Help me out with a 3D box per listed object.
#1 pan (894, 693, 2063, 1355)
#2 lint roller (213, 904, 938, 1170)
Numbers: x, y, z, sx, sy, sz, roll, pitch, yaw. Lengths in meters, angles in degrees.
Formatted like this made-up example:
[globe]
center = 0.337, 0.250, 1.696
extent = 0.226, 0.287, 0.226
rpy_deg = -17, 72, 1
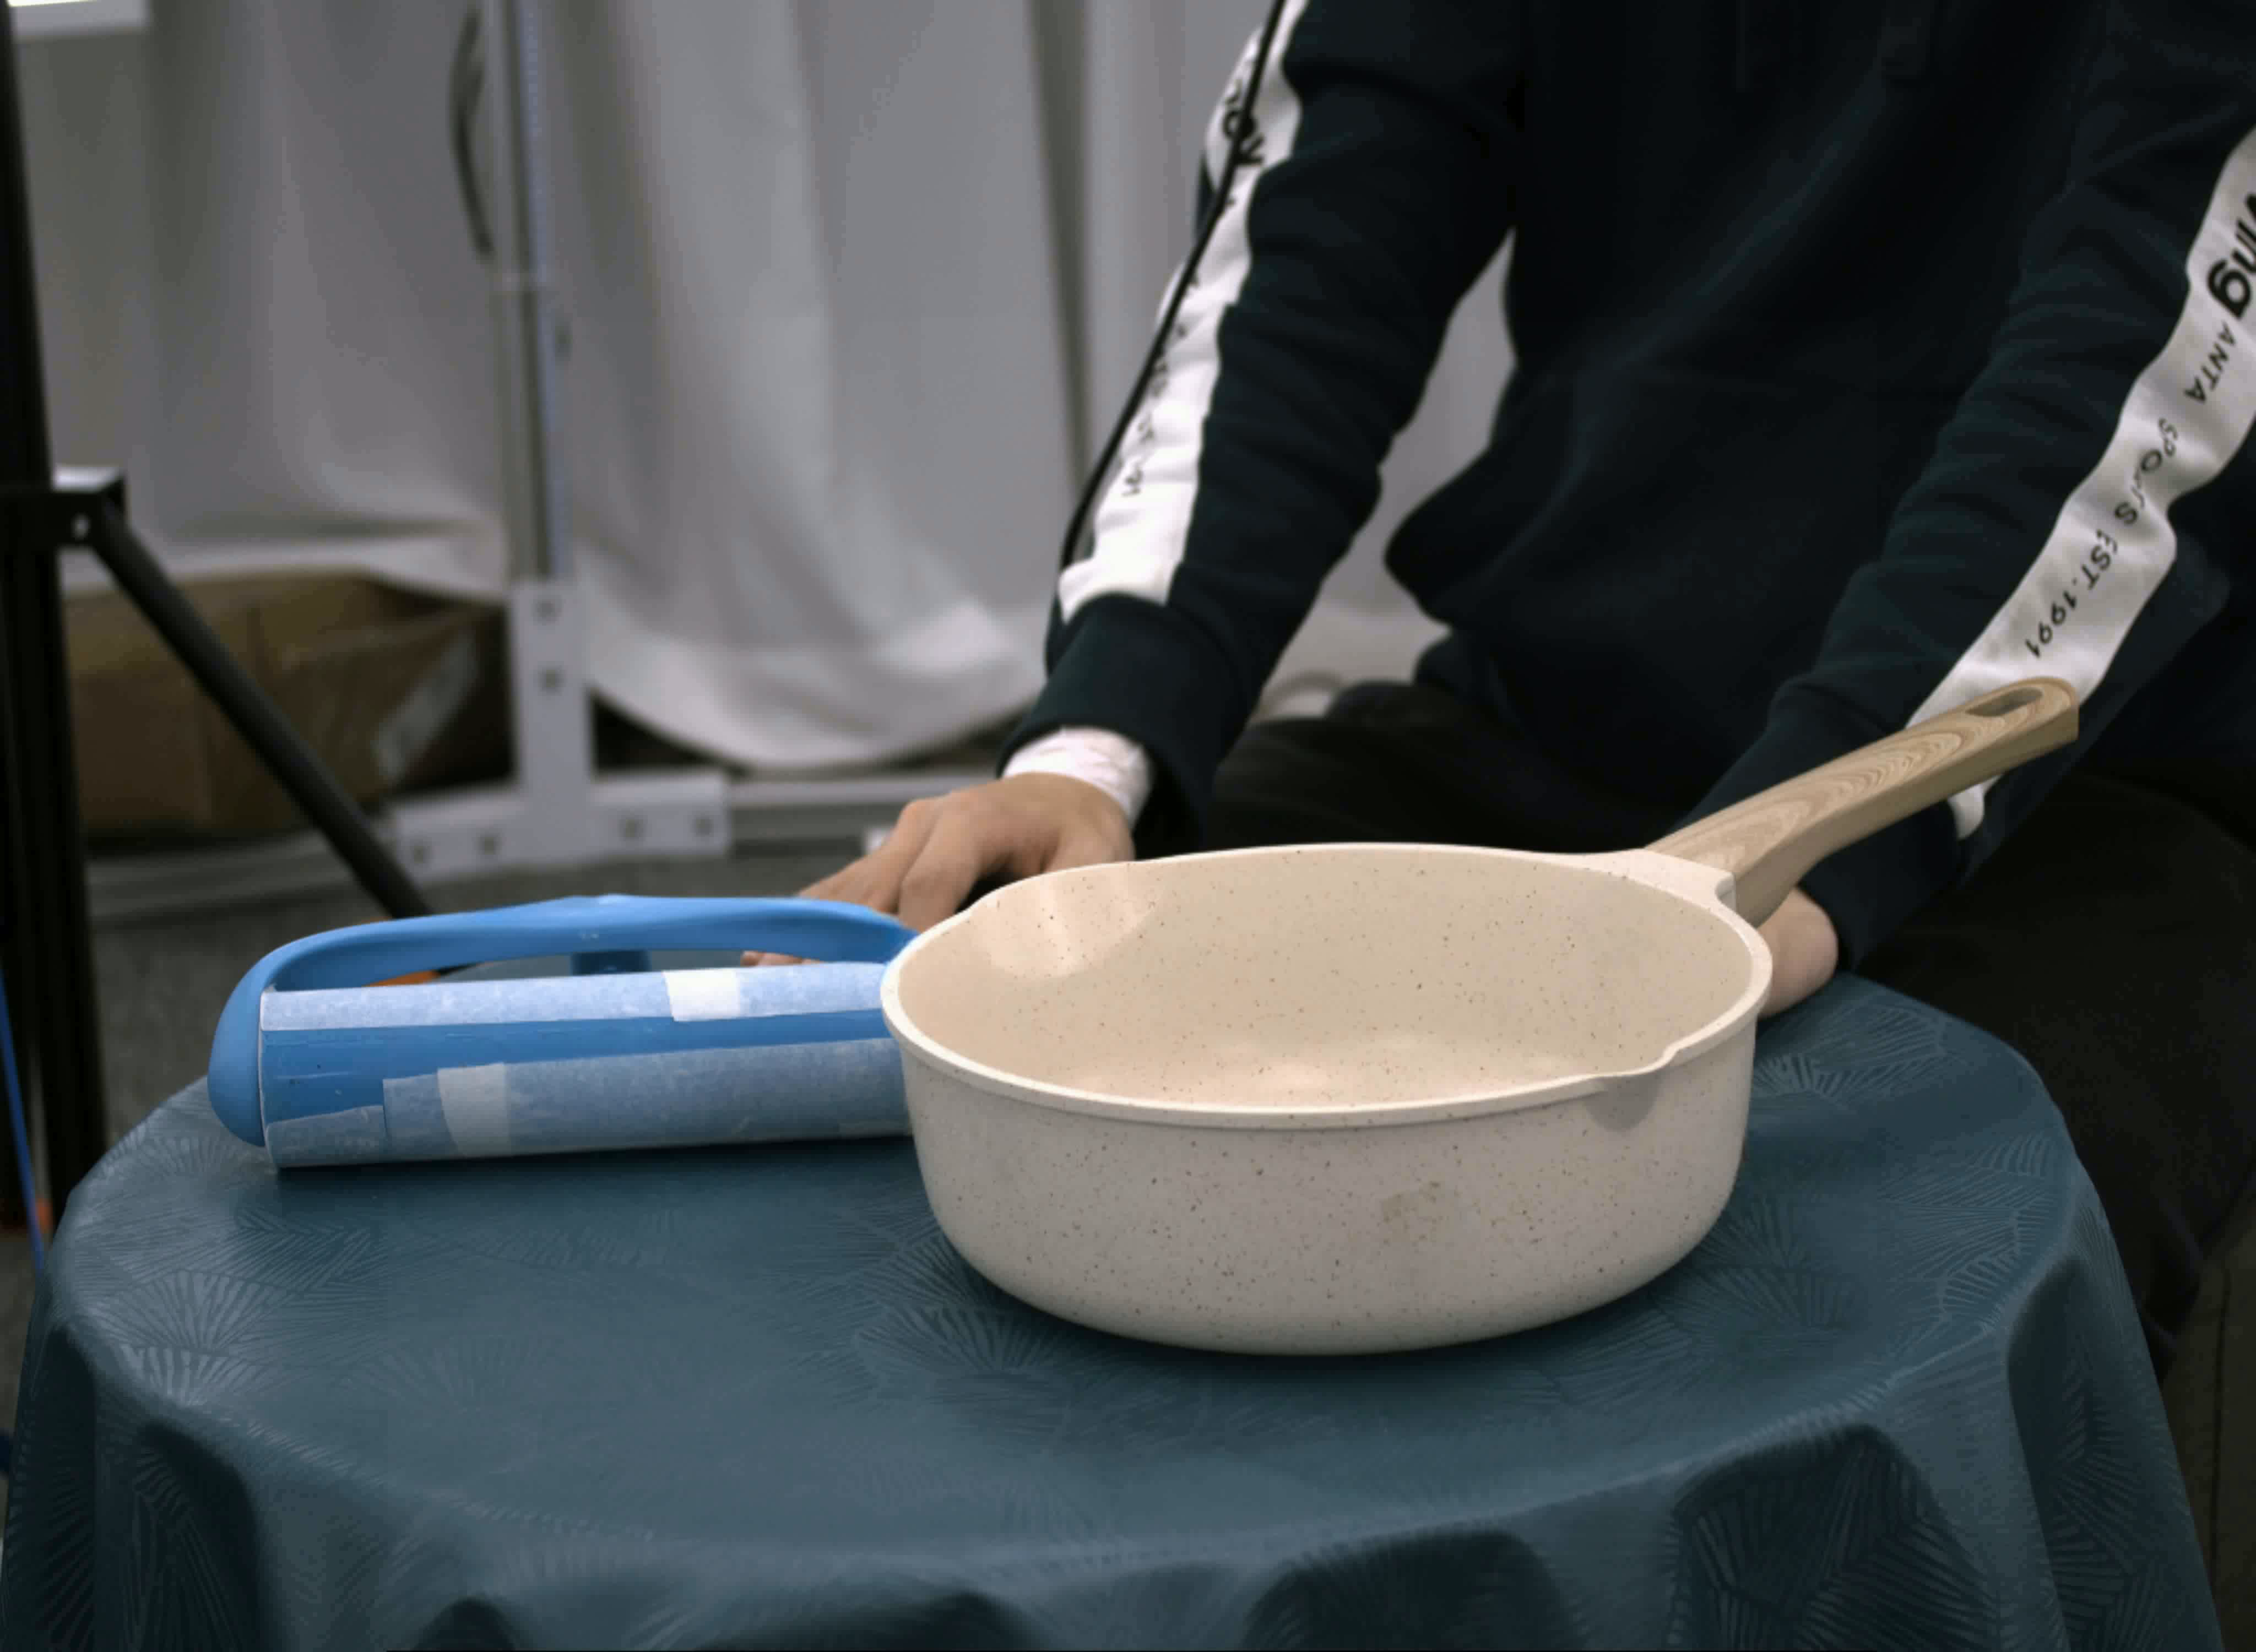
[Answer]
[pan]
center = 0.130, 0.053, 1.547
extent = 0.425, 0.102, 0.269
rpy_deg = -15, 19, -37
[lint roller]
center = -0.168, 0.055, 1.669
extent = 0.227, 0.068, 0.181
rpy_deg = -5, 16, -3
